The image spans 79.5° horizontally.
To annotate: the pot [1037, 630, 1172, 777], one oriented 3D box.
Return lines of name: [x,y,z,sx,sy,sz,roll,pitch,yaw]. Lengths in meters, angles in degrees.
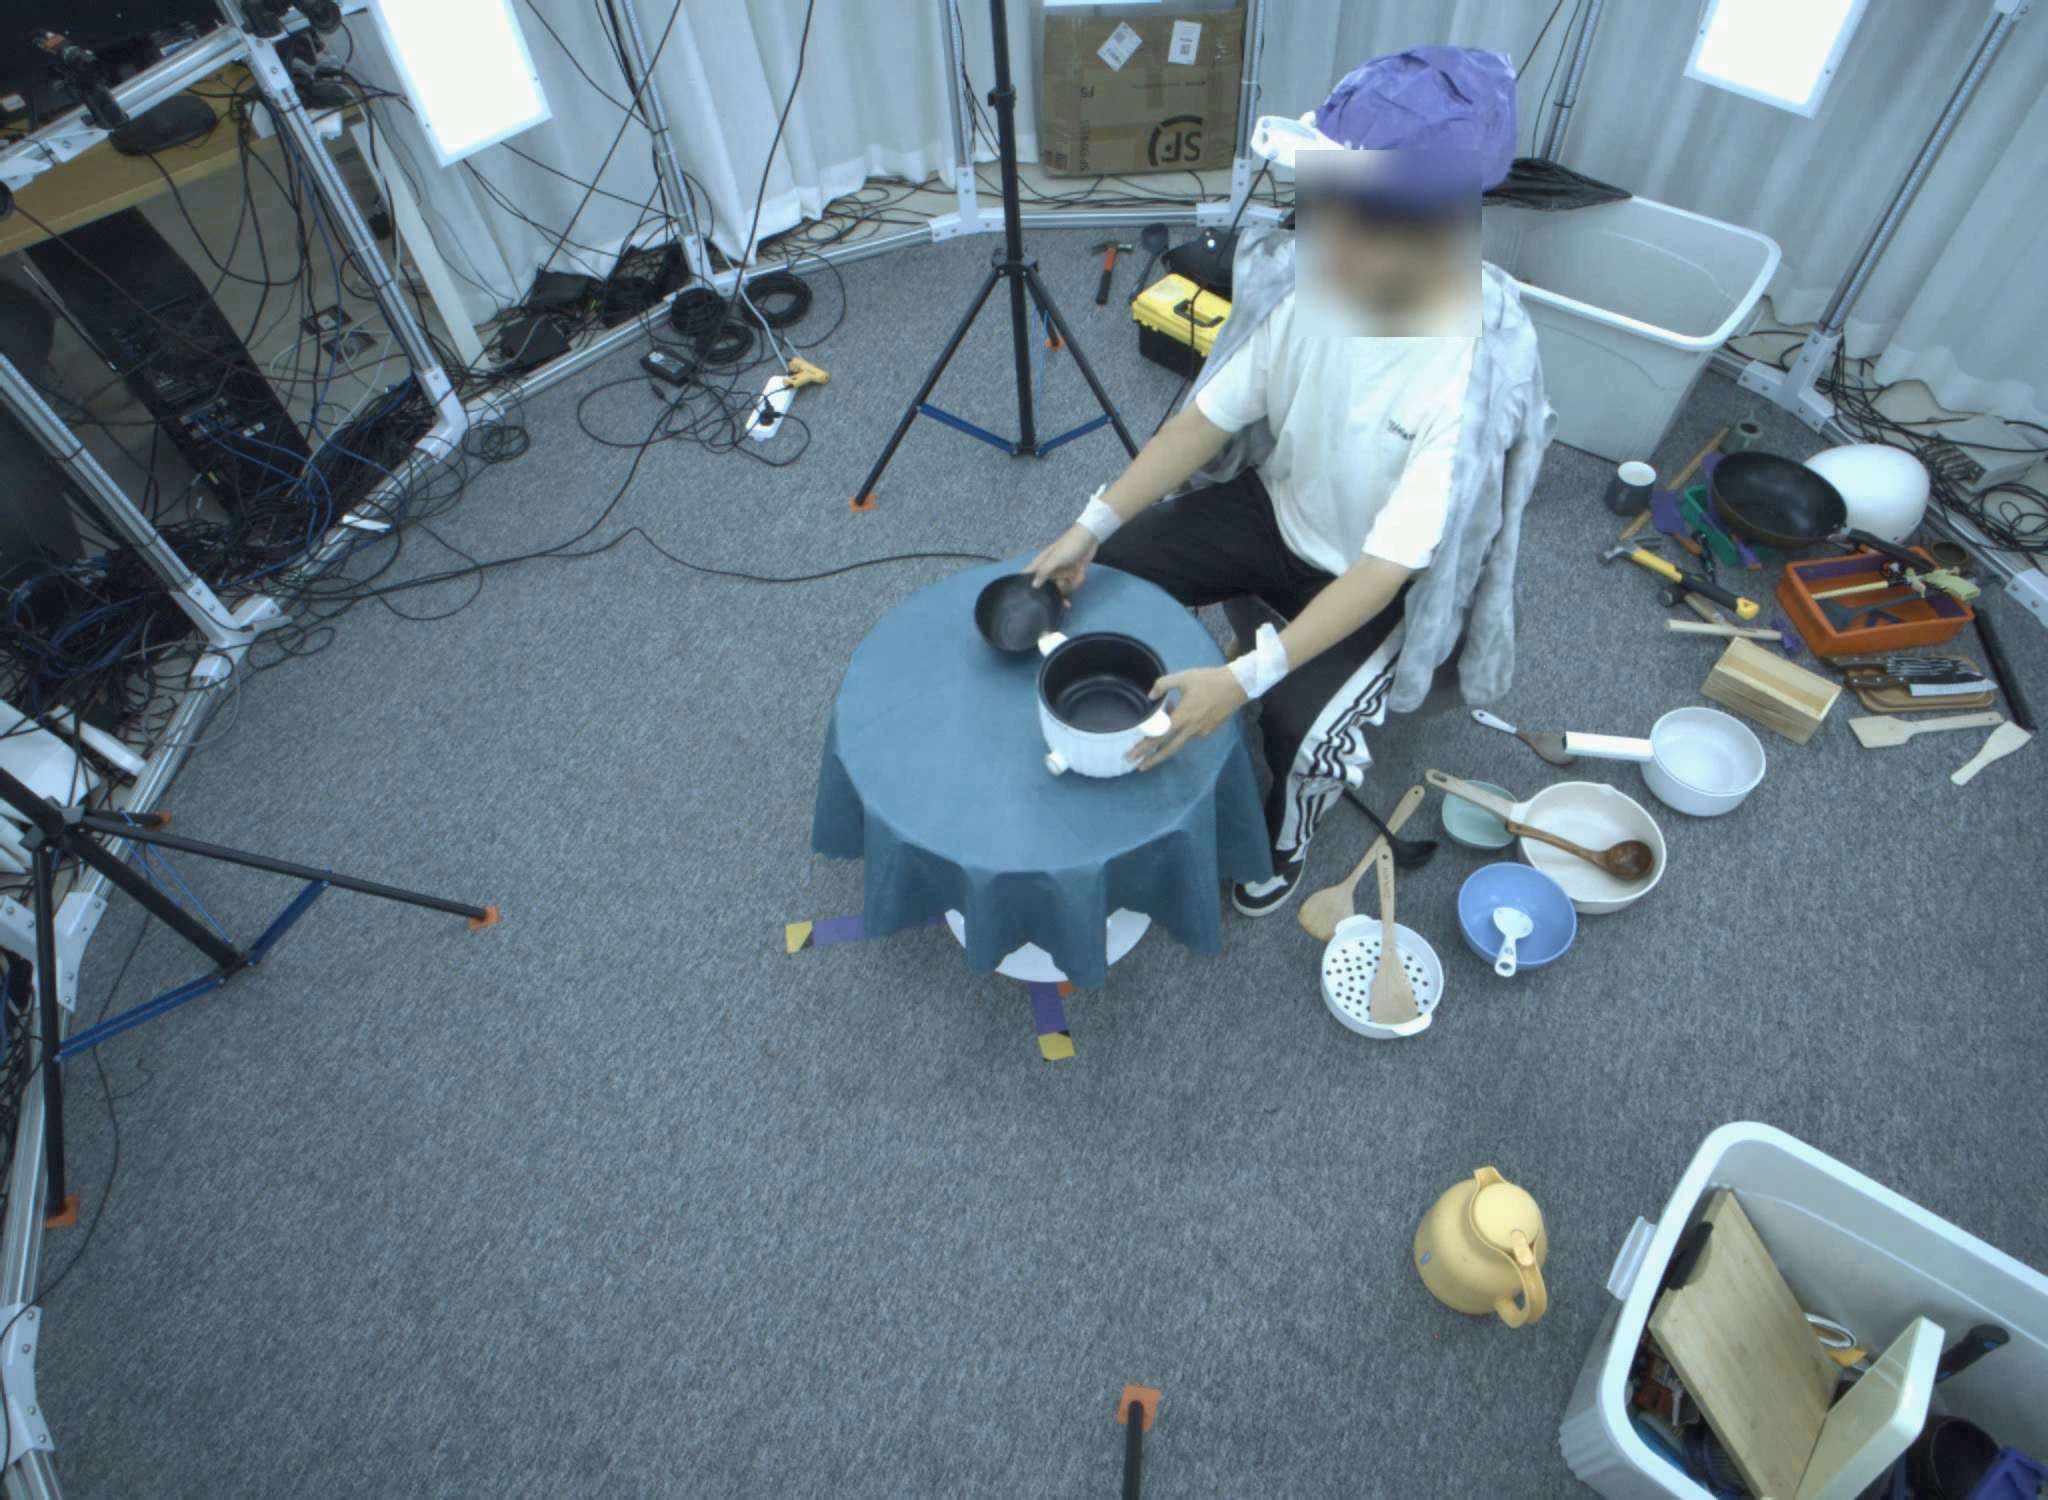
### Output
pot: [0.108,-0.054,1.739,0.192,0.144,0.236,-37,60,-25]

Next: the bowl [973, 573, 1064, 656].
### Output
bowl: [-0.007,-0.202,1.893,0.137,0.067,0.169,7,55,6]
